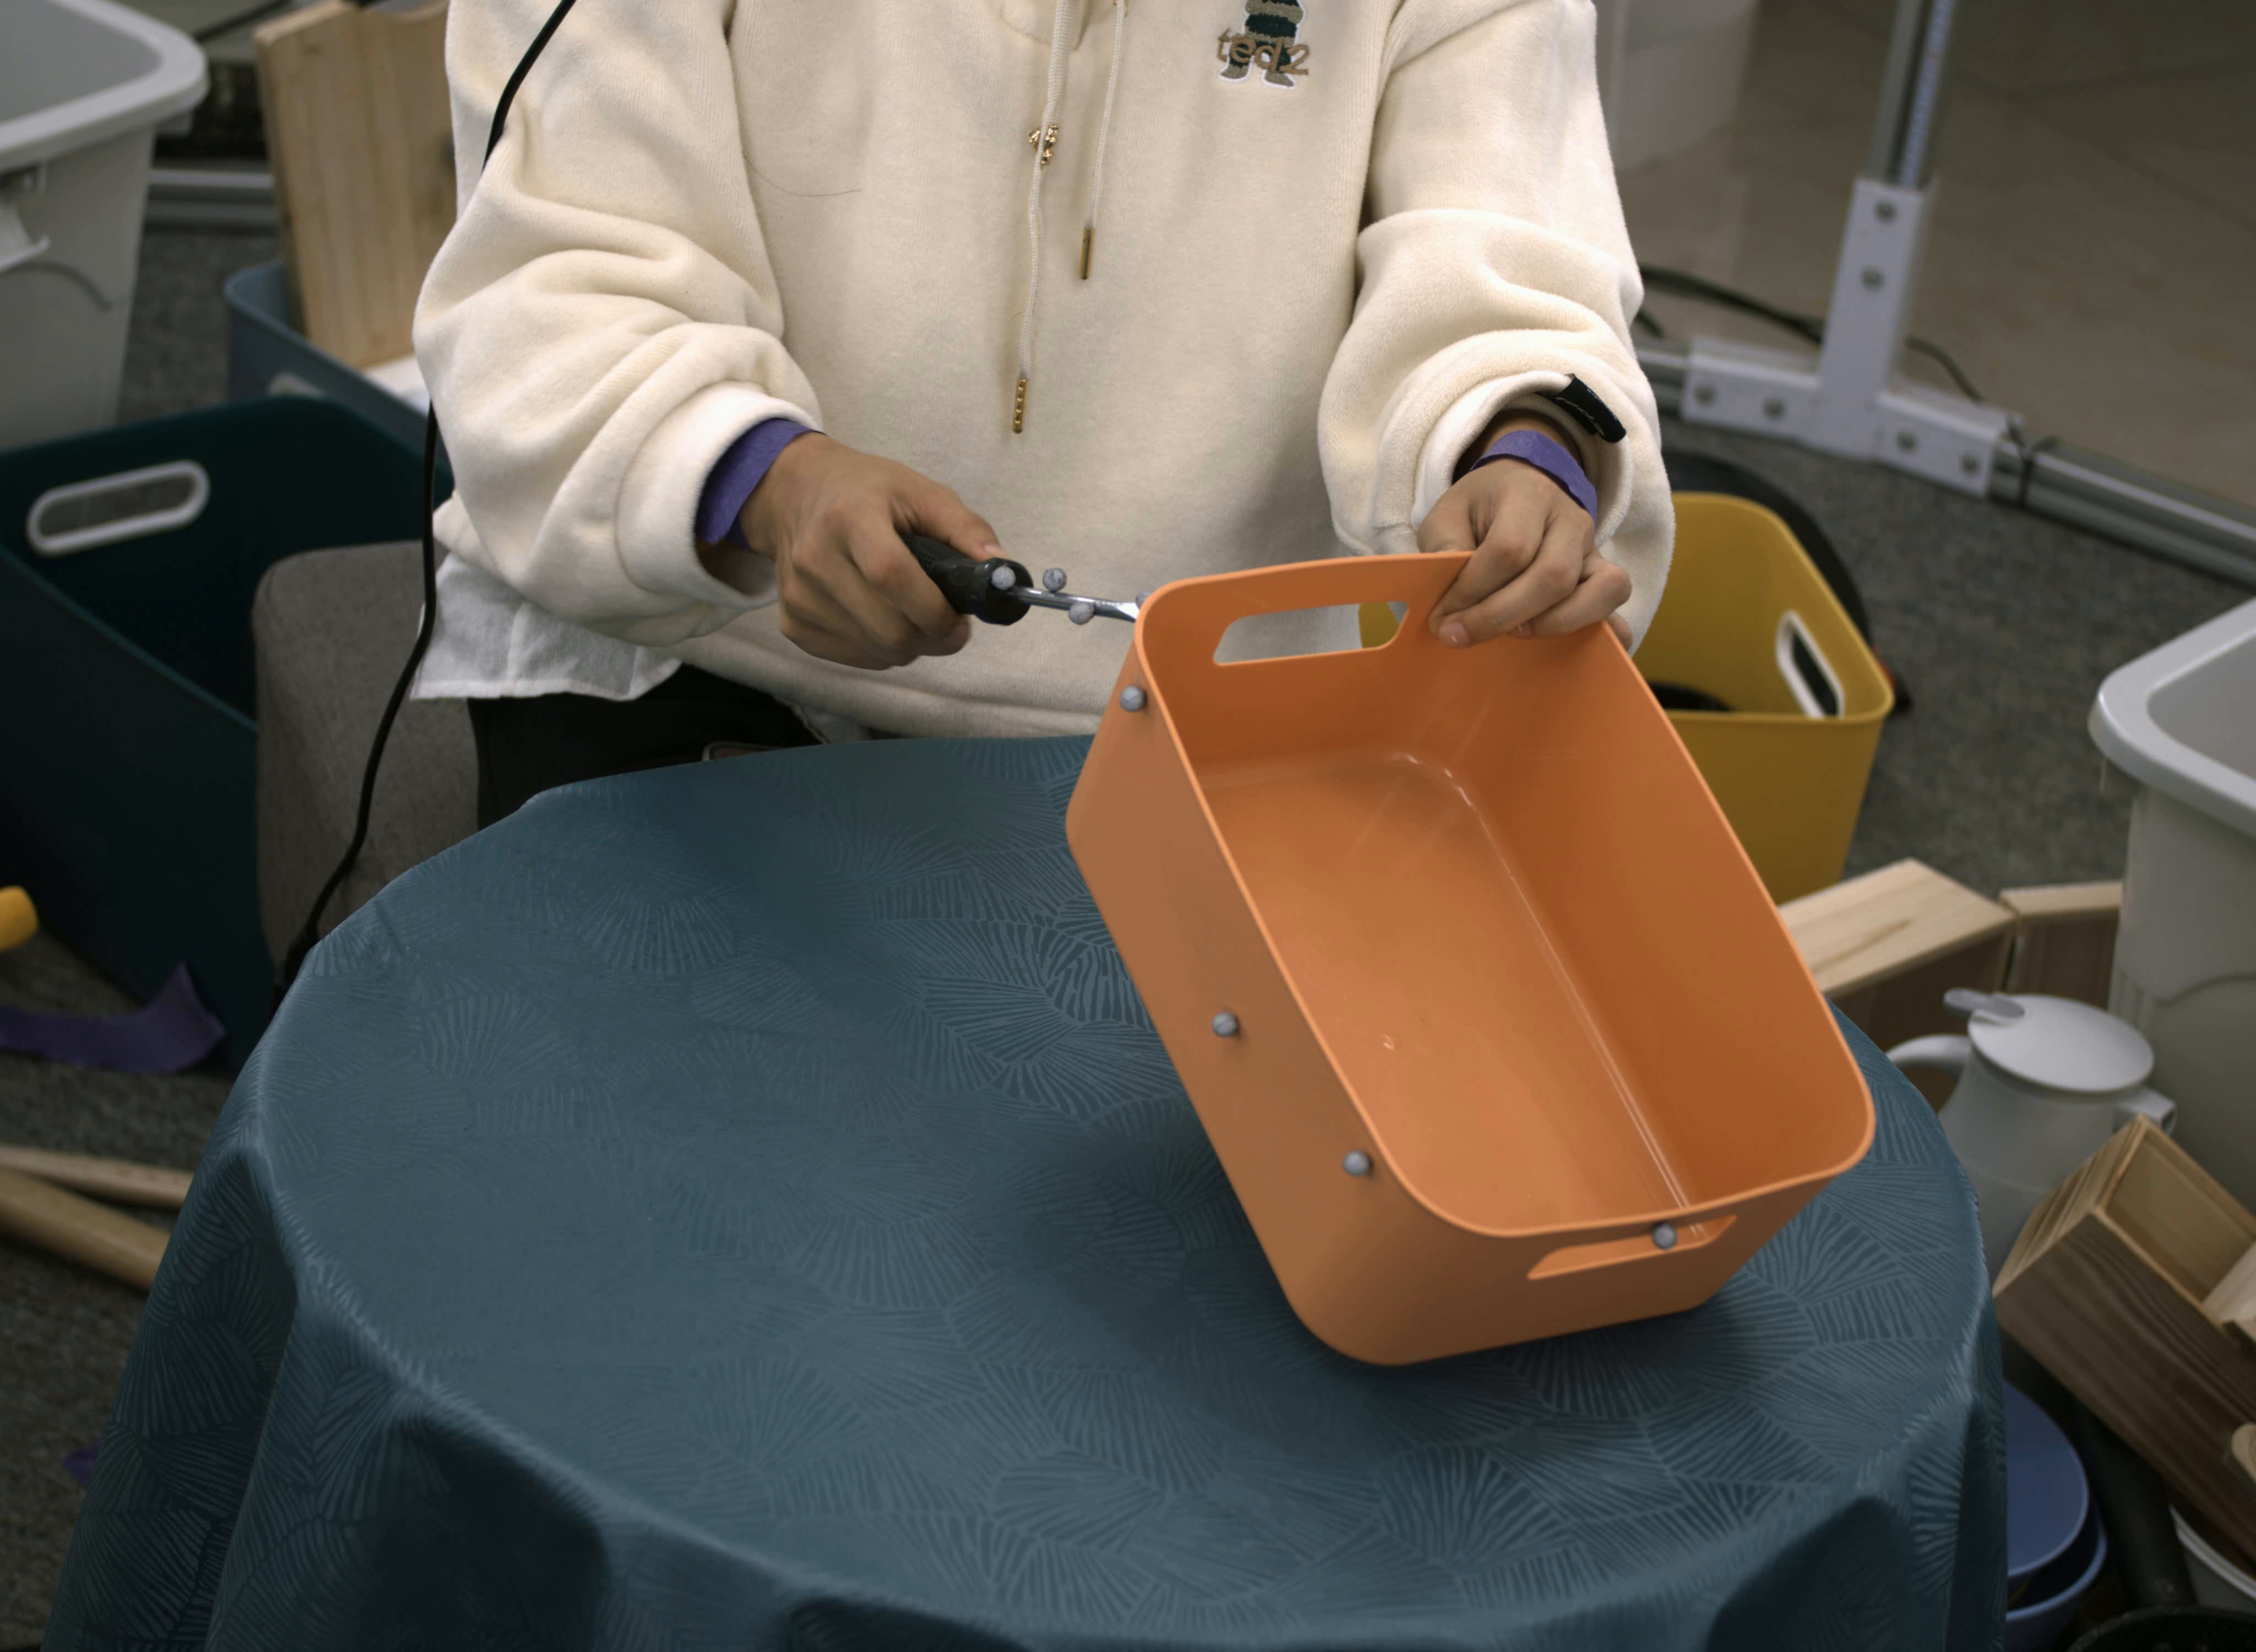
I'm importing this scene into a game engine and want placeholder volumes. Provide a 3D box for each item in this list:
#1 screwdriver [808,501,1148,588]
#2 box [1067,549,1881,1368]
[{"bbox_3d":[-0.051,-0.096,1.872,0.031,0.031,0.199,-15,15,-37],"label":"screwdriver"},{"bbox_3d":[0.106,0.045,1.767,0.198,0.102,0.275,-7,55,-30],"label":"box"}]
